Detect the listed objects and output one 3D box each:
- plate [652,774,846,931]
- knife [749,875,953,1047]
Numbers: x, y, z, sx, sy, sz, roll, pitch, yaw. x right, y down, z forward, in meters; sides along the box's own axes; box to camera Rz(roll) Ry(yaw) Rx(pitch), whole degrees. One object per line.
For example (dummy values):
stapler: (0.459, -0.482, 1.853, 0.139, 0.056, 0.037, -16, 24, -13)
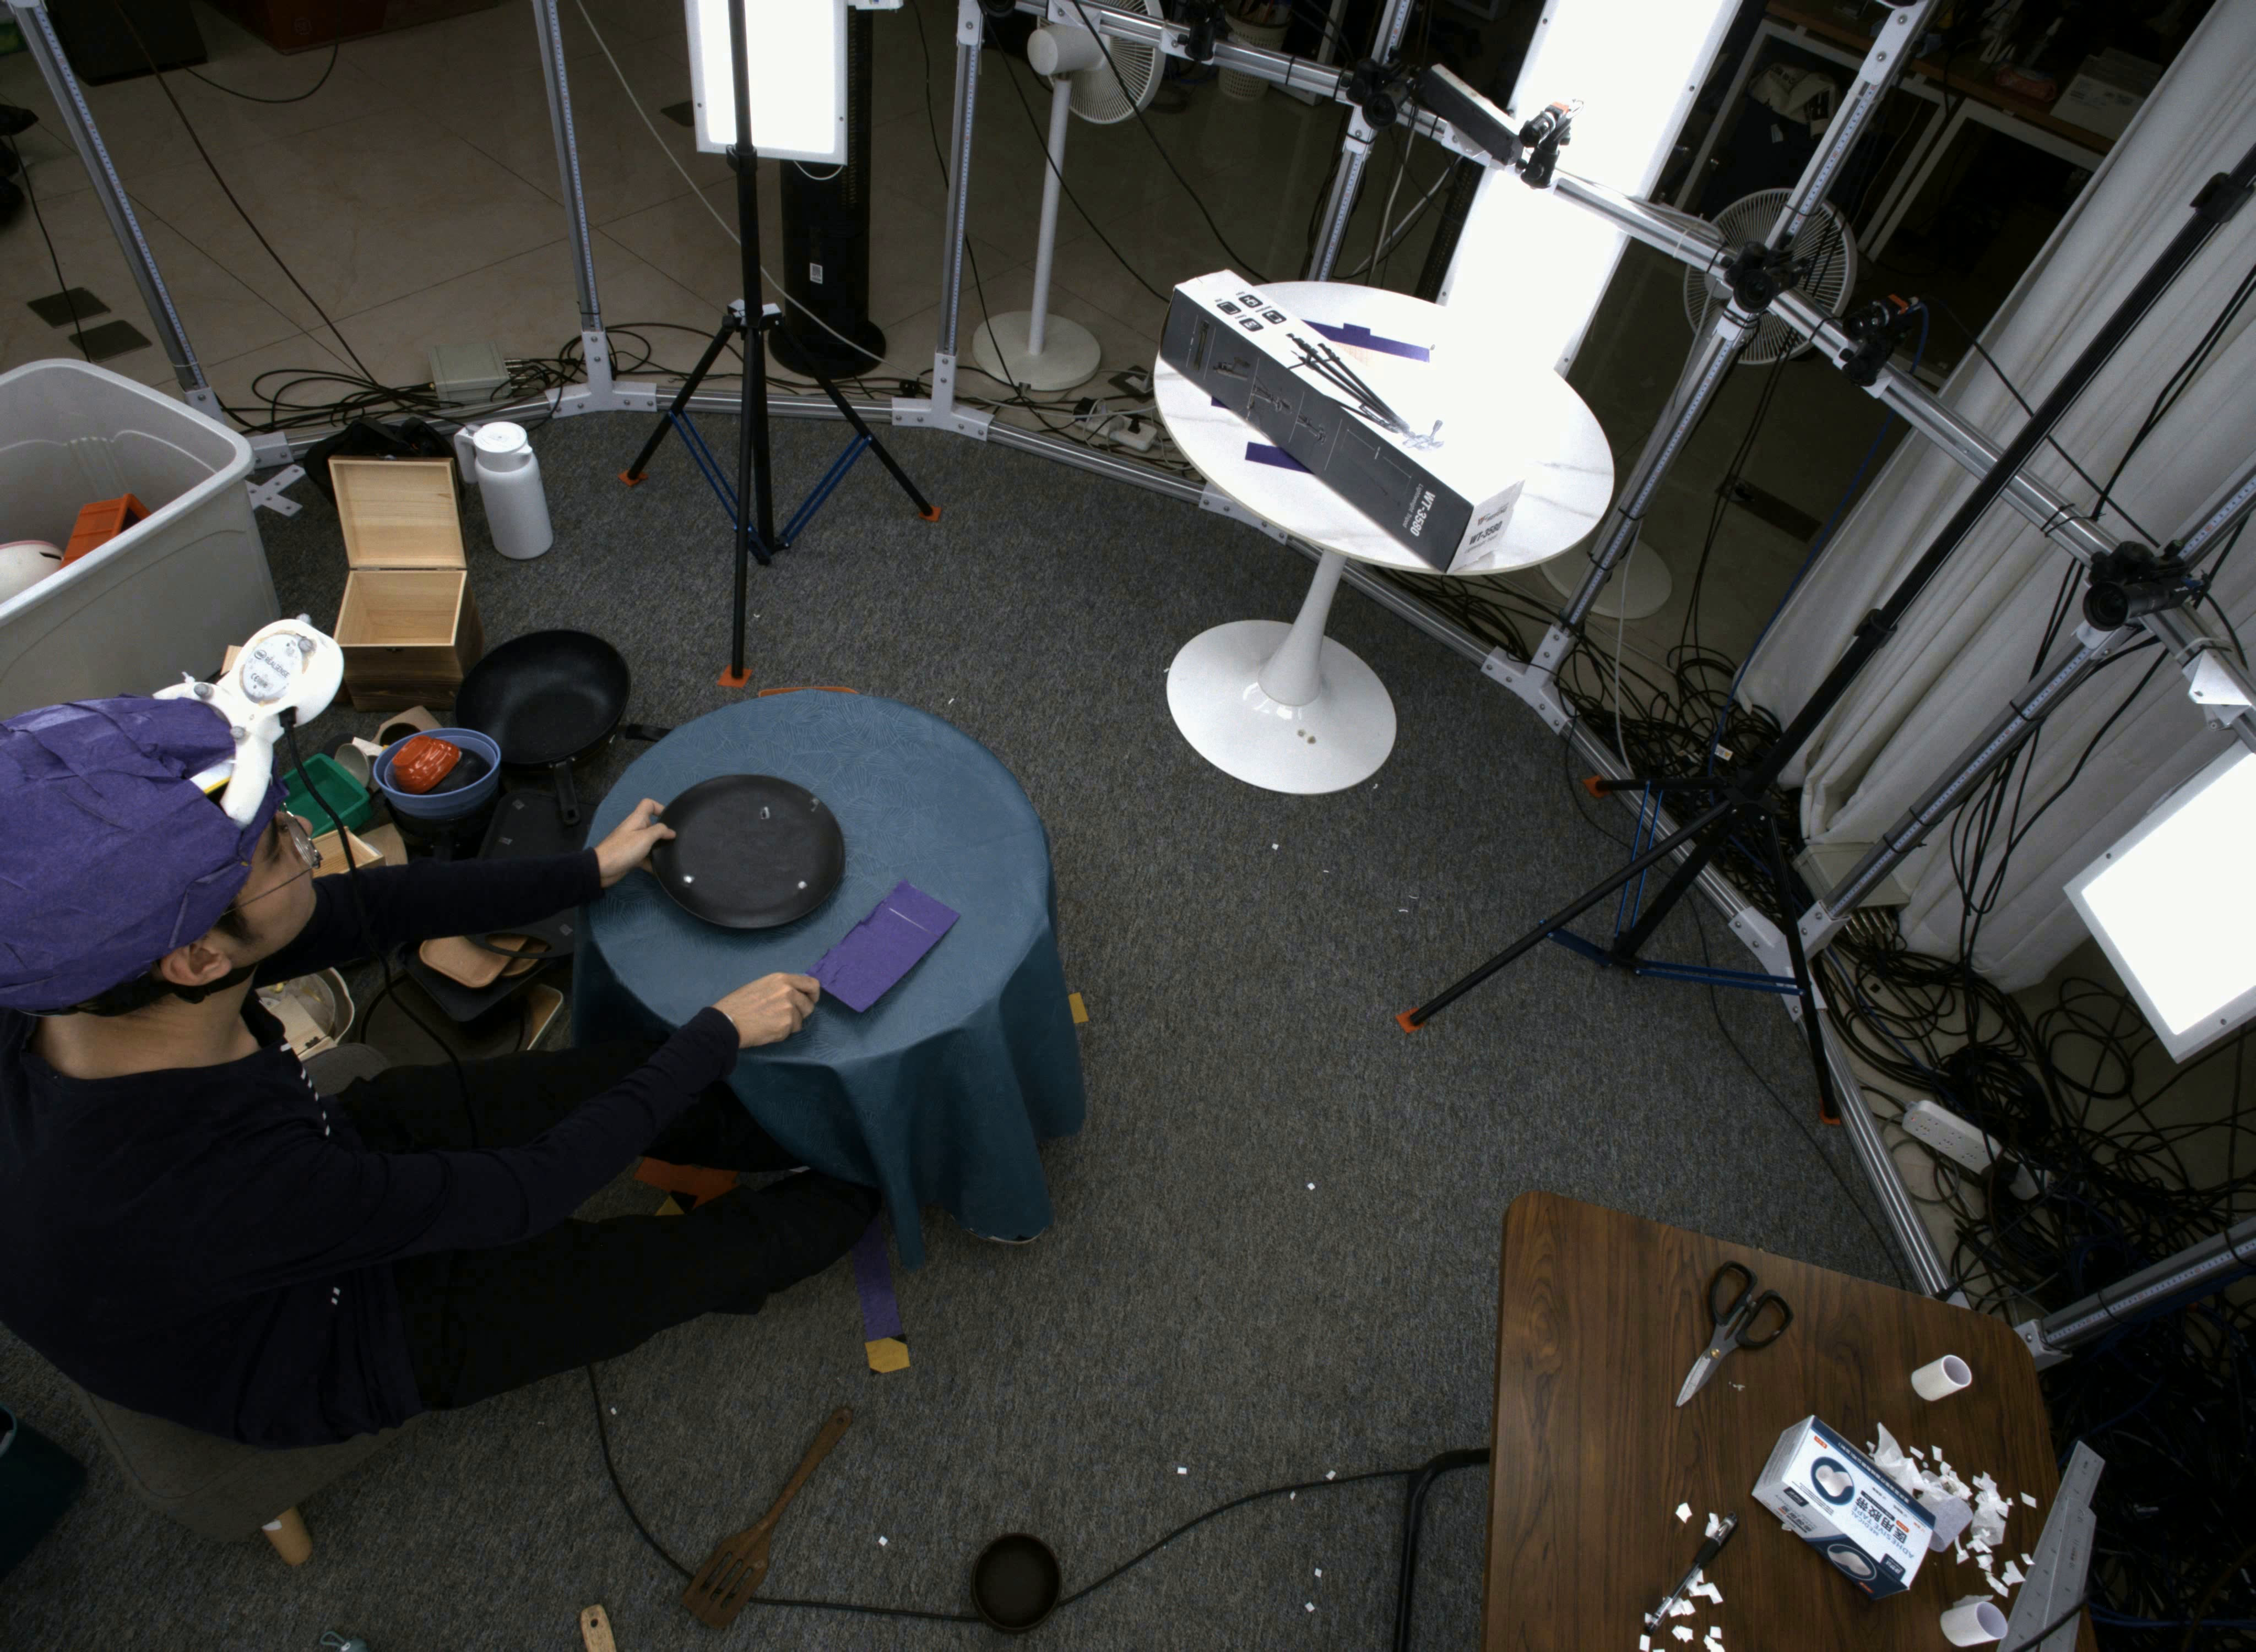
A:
plate: (-0.487, 0.034, 1.669, 0.245, 0.024, 0.240, 11, 53, -13)
knife: (-0.329, 0.170, 1.597, 0.102, 0.033, 0.314, 31, 46, 10)
